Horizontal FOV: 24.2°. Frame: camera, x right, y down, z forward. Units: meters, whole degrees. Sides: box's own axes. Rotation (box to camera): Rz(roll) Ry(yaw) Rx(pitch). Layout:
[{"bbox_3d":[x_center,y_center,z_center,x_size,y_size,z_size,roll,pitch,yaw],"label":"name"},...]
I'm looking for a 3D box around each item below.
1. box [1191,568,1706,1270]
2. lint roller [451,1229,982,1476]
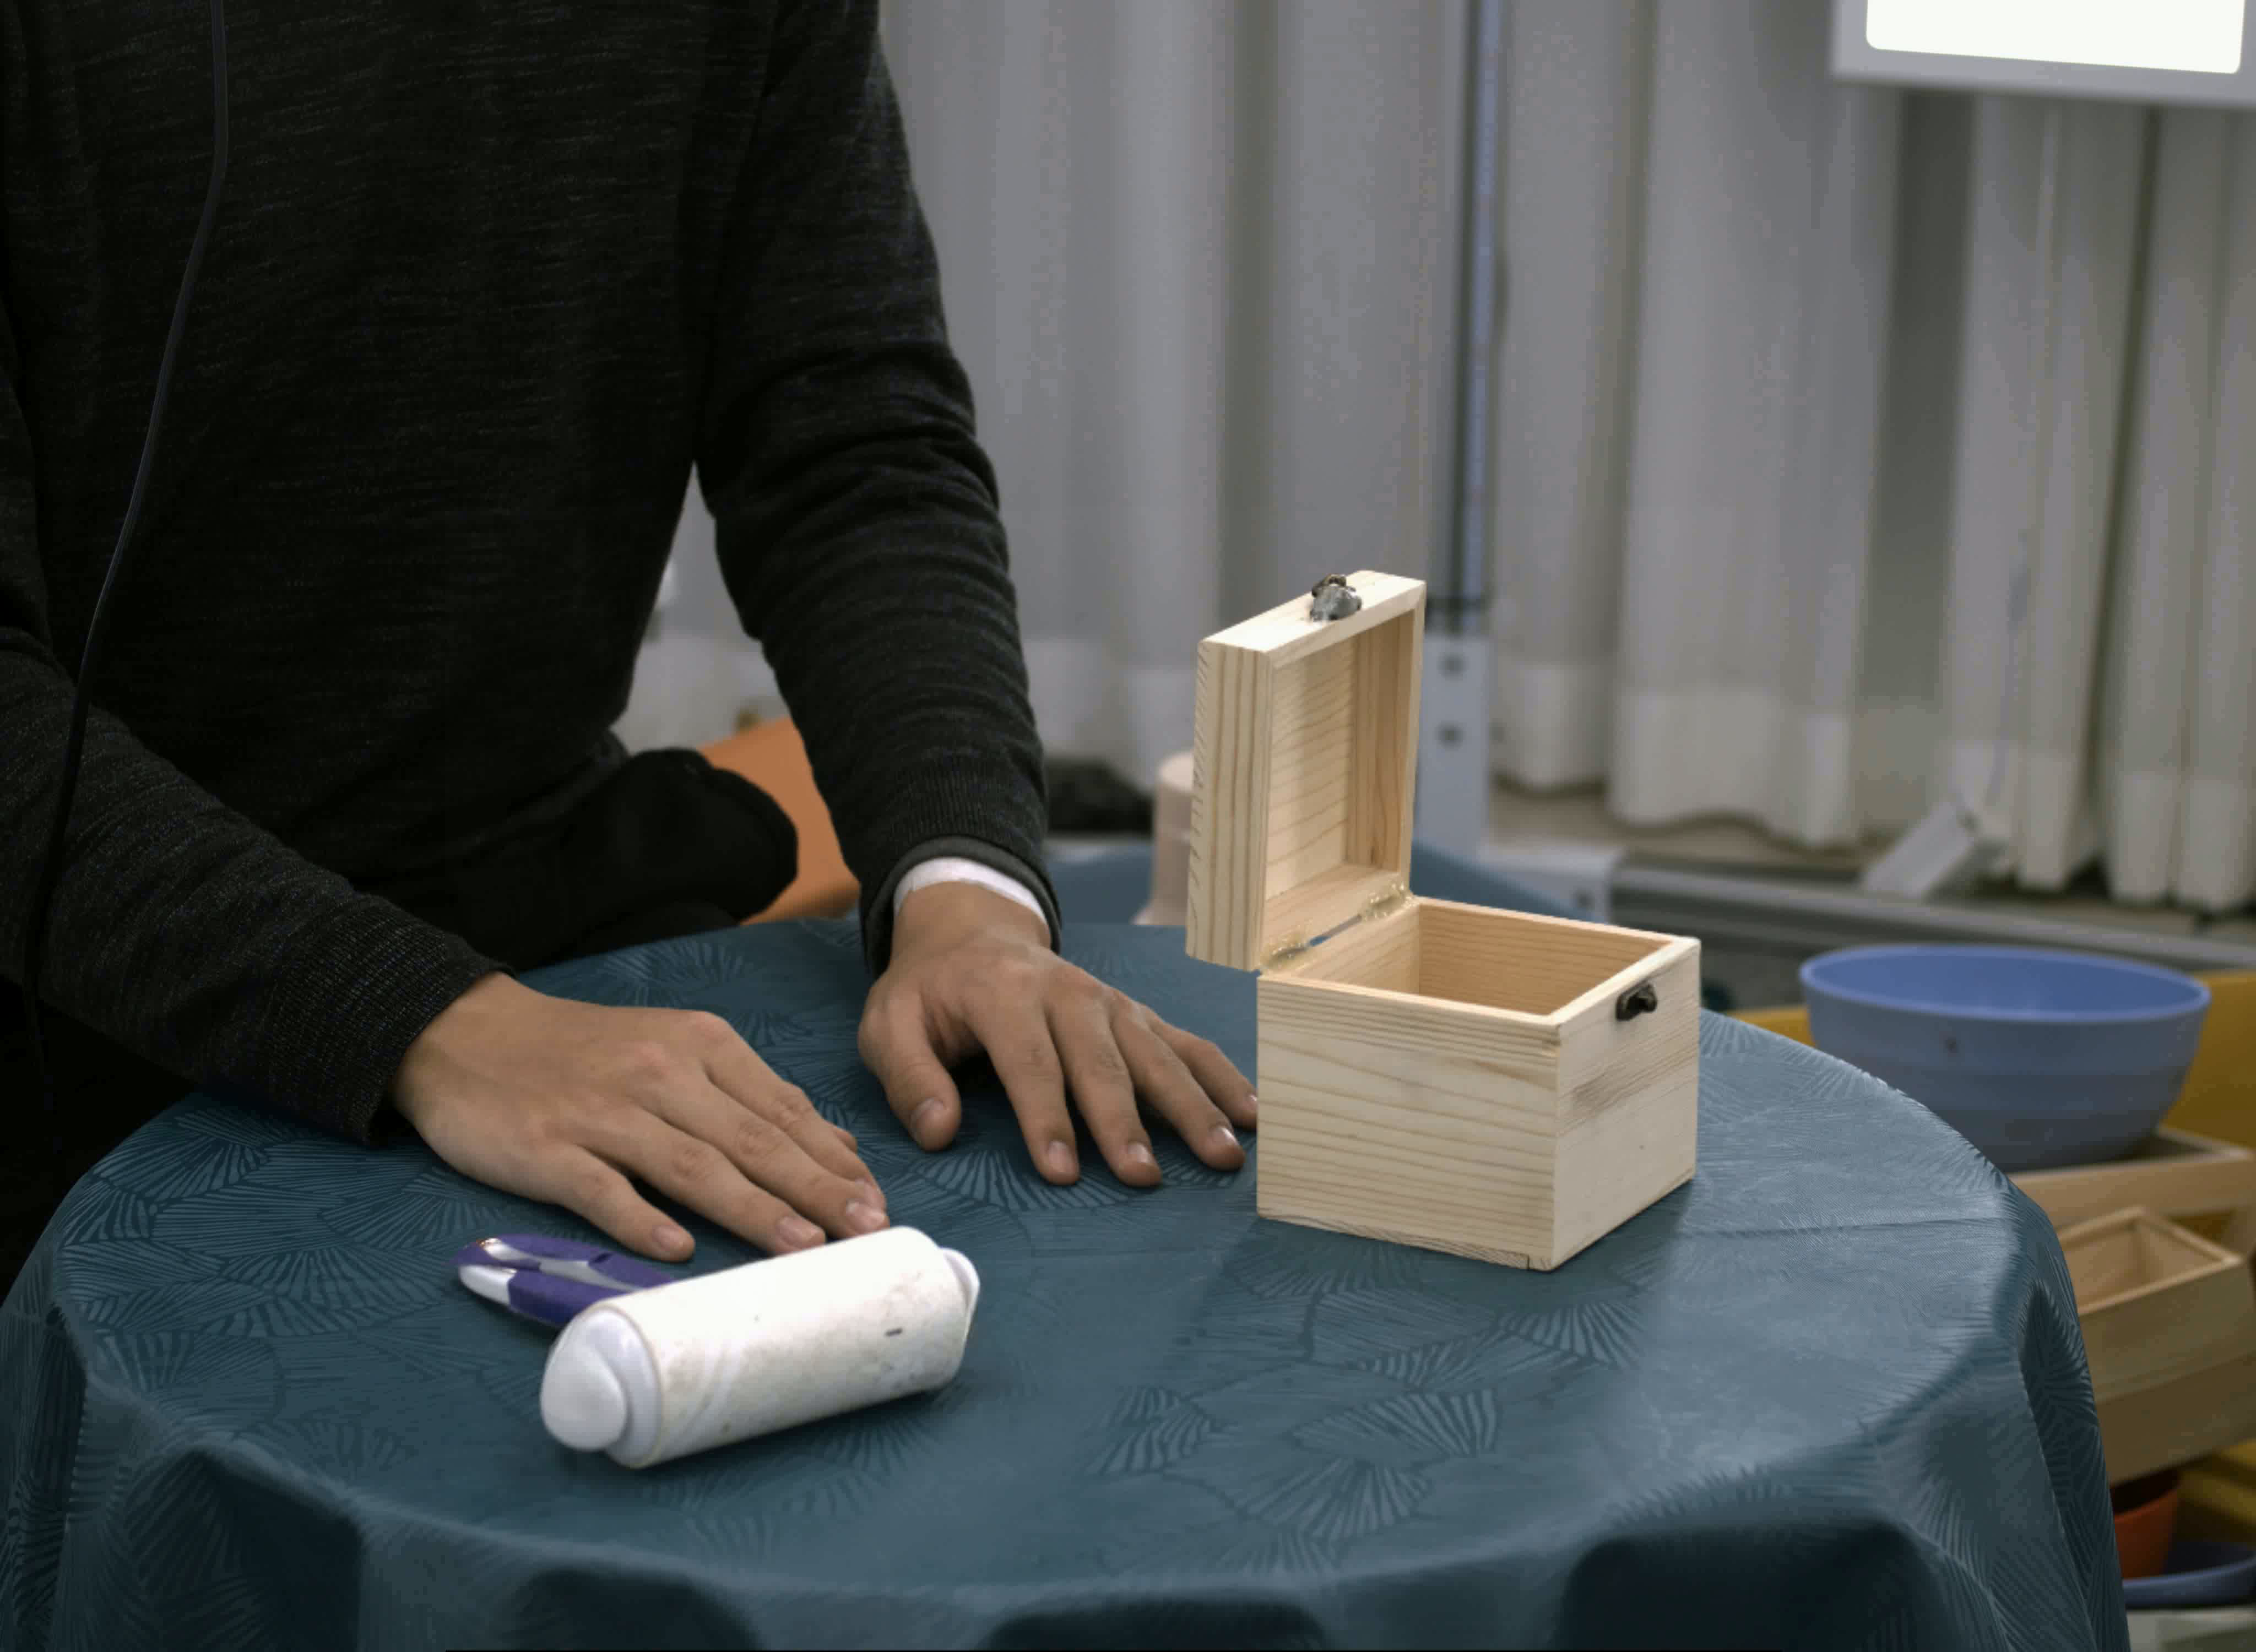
[{"bbox_3d":[0.100,0.024,1.596,0.132,0.186,0.103,9,18,29],"label":"box"},{"bbox_3d":[-0.136,0.127,1.476,0.133,0.050,0.178,-12,22,-35],"label":"lint roller"}]
